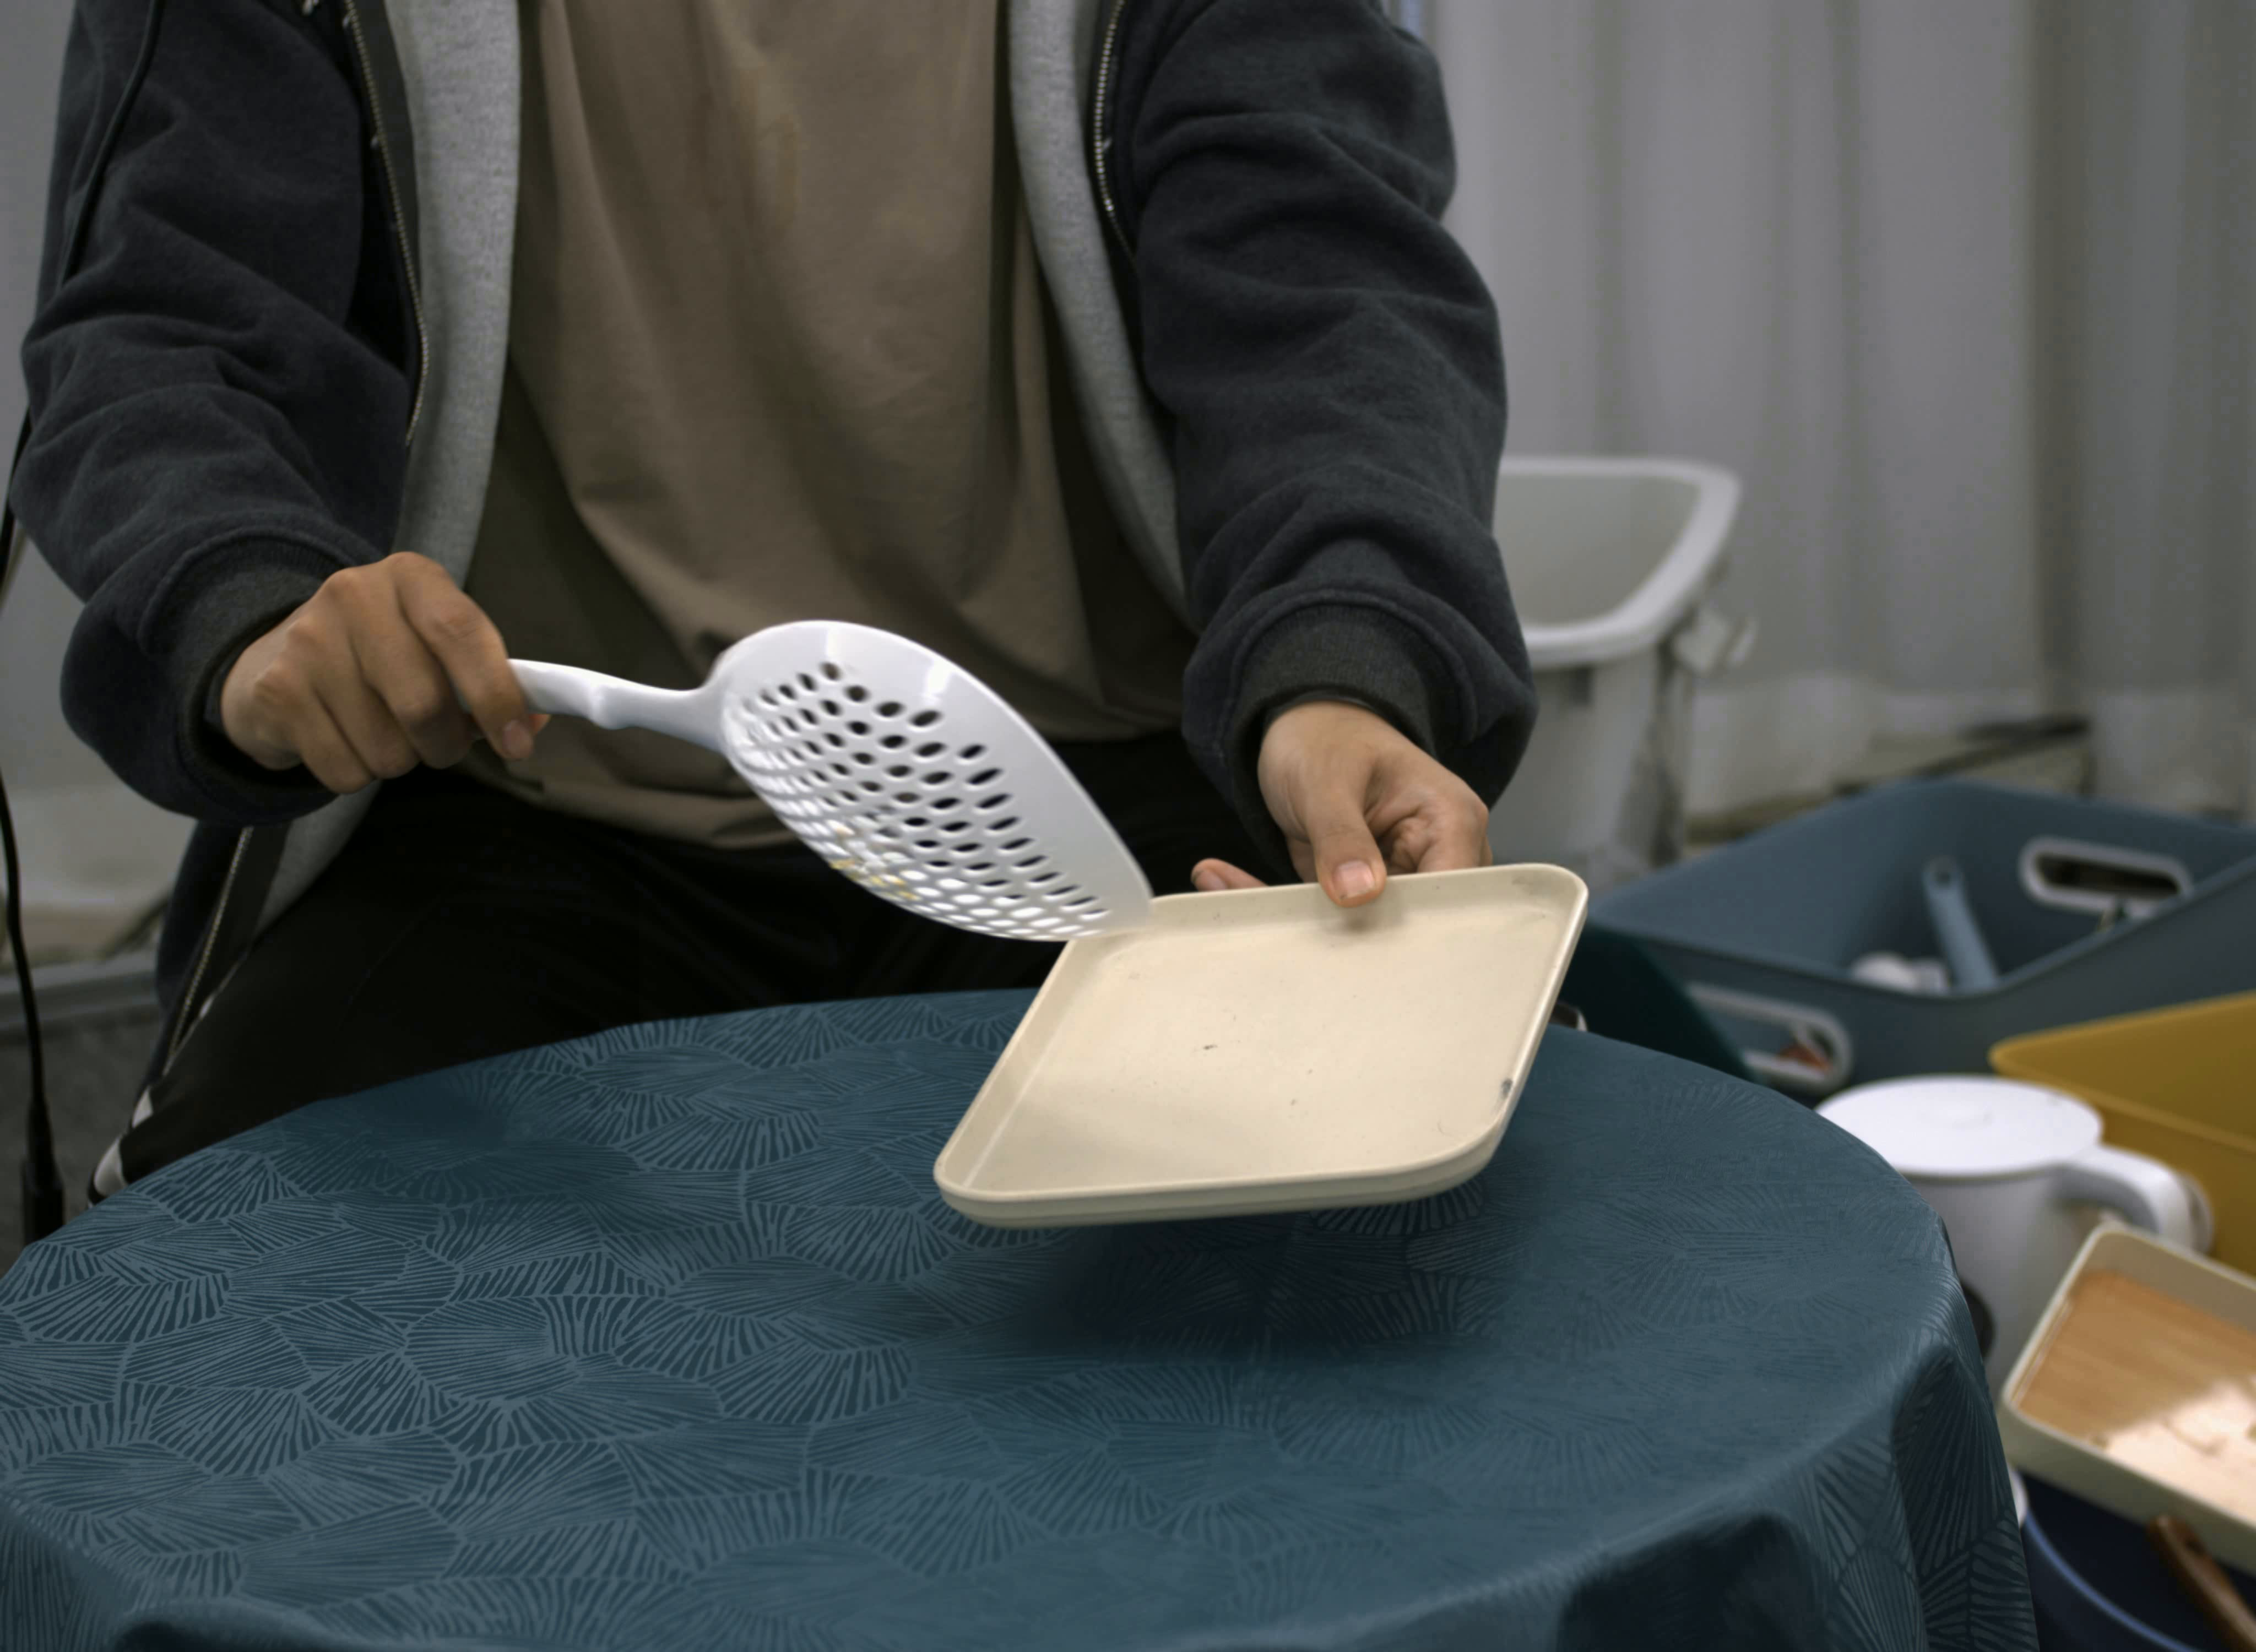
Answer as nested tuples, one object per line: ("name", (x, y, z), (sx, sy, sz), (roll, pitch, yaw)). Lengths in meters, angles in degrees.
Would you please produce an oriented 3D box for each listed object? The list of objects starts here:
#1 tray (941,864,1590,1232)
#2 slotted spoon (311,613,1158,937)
("tray", (0.047, 0.066, 1.657), (0.171, 0.017, 0.241), (-6, 19, 15))
("slotted spoon", (-0.132, -0.024, 1.663), (0.350, 0.135, 0.050), (17, 63, 47))
